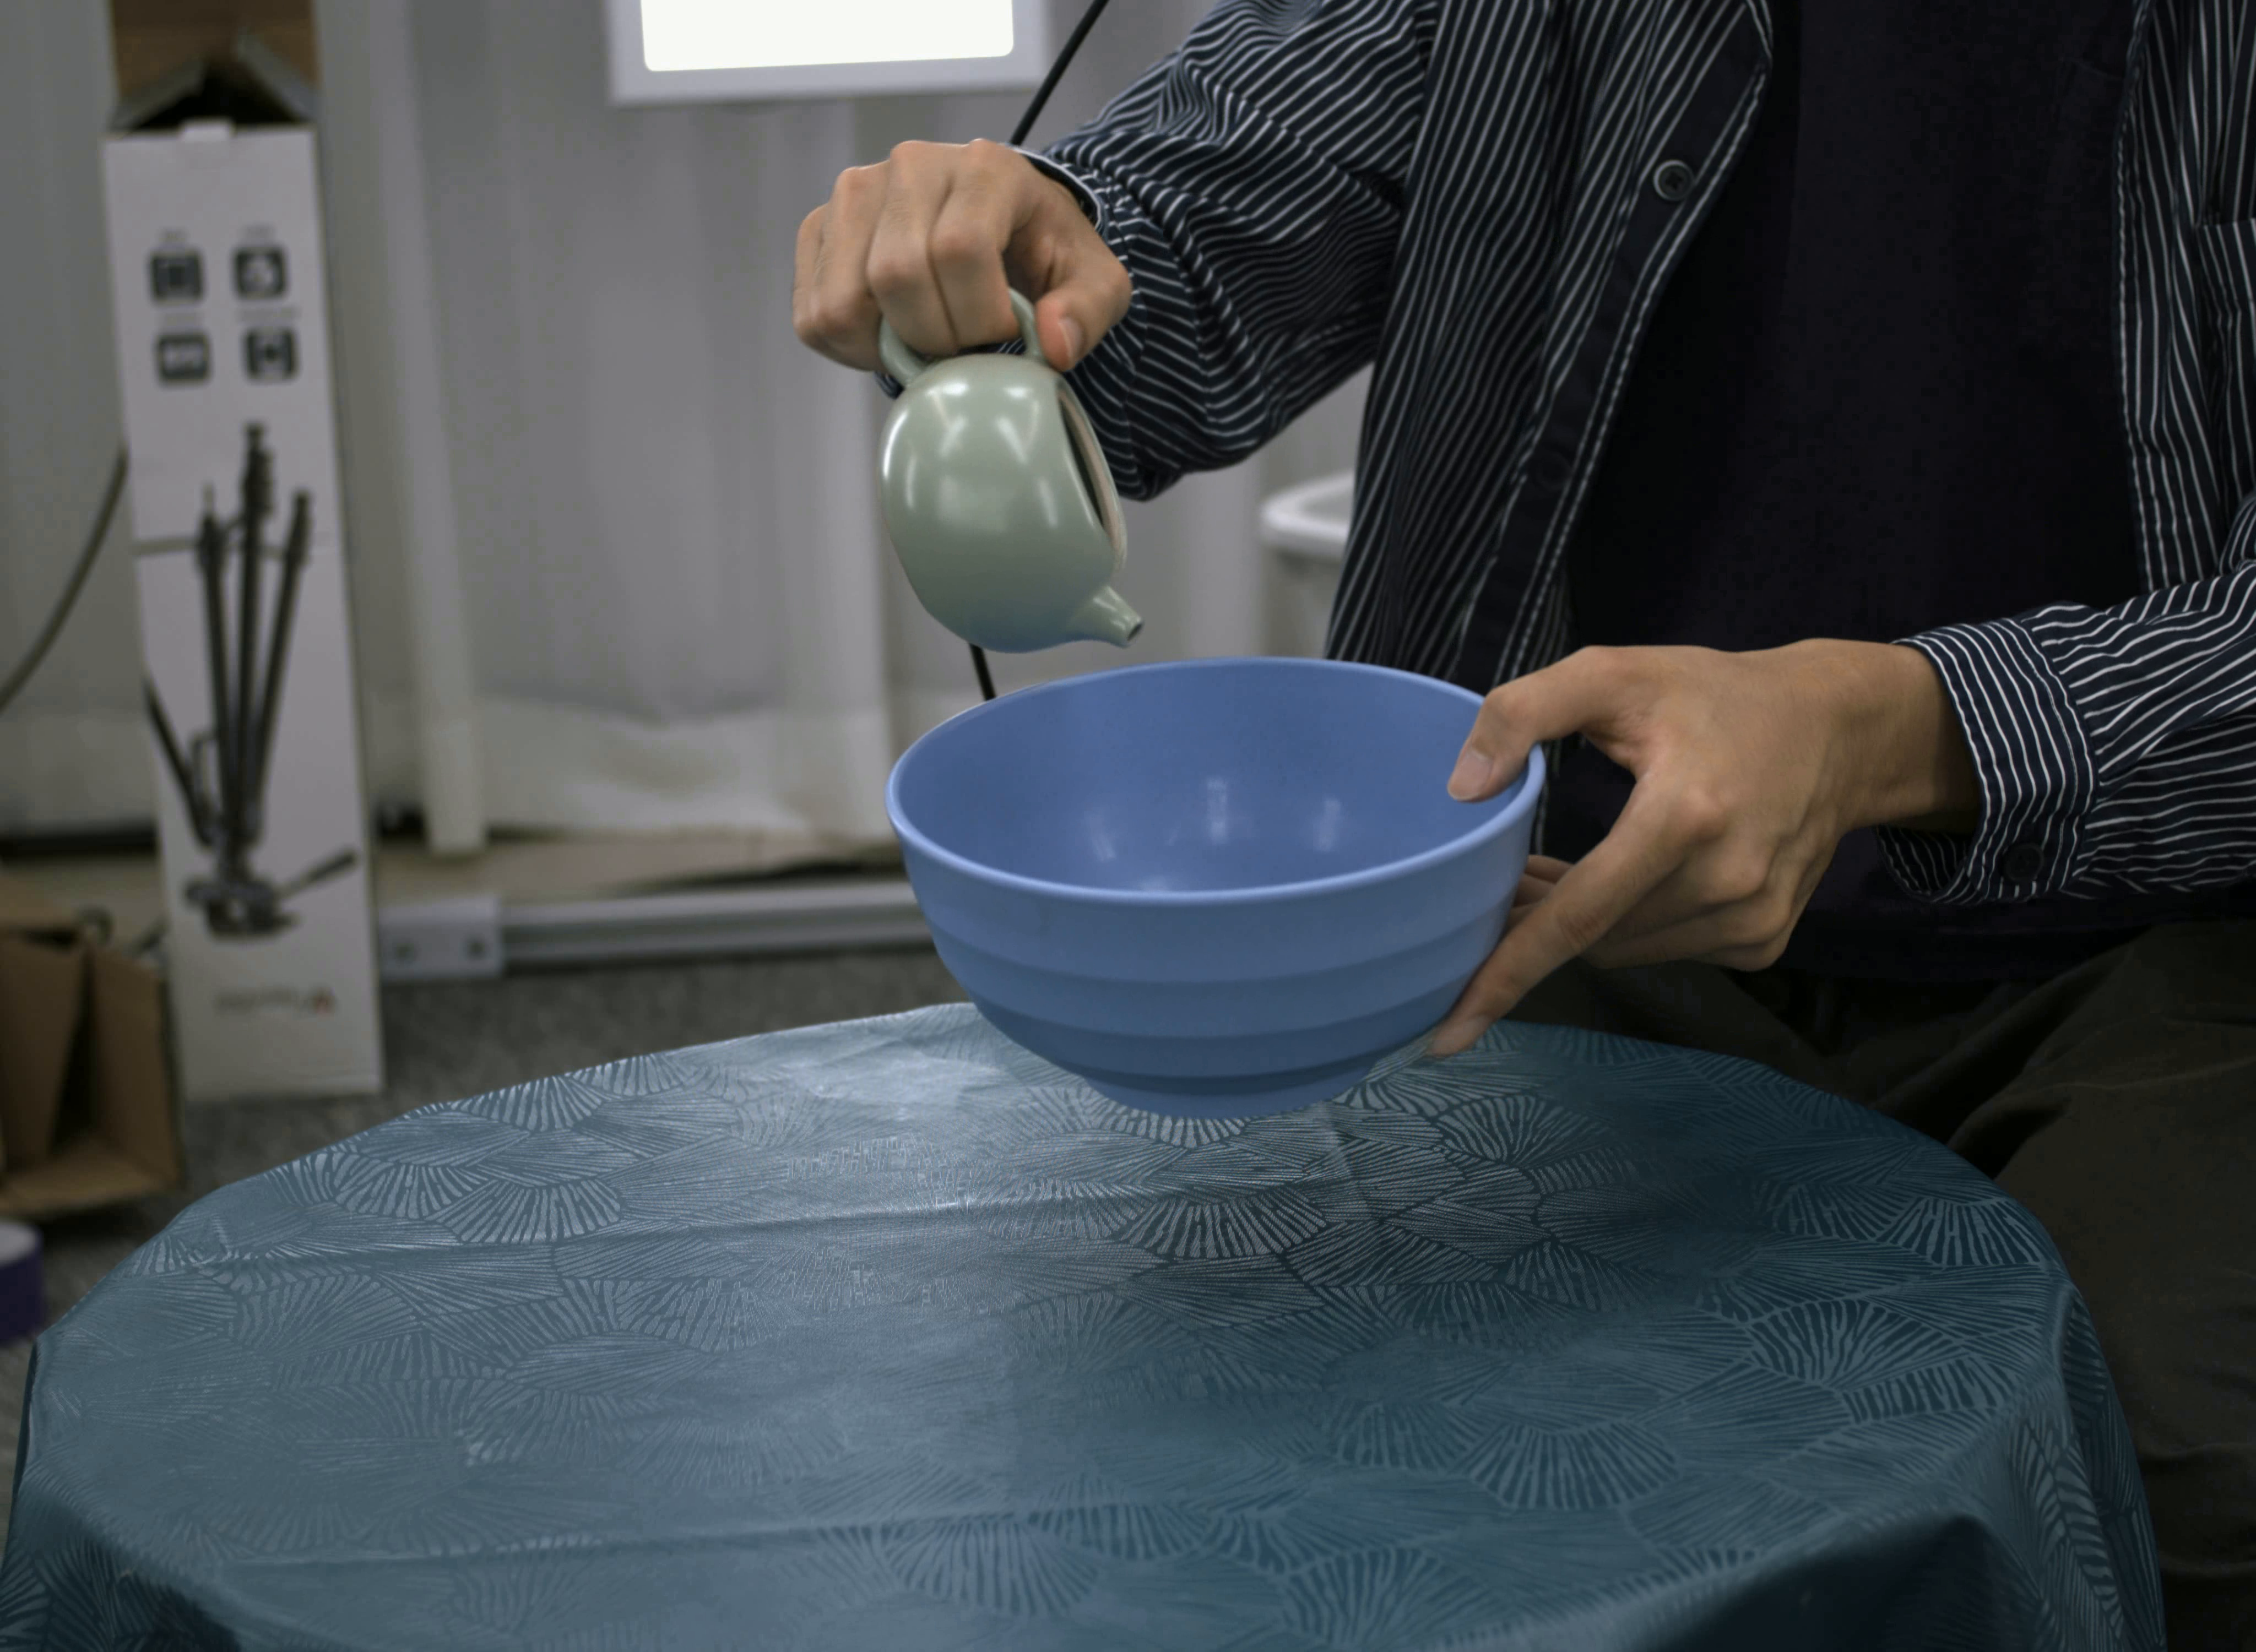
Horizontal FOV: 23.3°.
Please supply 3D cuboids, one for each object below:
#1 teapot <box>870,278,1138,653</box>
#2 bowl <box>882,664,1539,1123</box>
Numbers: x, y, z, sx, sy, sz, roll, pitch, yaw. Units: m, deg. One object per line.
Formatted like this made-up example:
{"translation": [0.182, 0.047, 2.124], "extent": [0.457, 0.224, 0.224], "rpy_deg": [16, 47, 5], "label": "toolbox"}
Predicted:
{"translation": [-0.043, -0.106, 1.647], "extent": [0.061, 0.130, 0.091], "rpy_deg": [-22, -17, 11], "label": "teapot"}
{"translation": [0.027, 0.027, 1.643], "extent": [0.196, 0.095, 0.198], "rpy_deg": [-3, 21, 1], "label": "bowl"}
